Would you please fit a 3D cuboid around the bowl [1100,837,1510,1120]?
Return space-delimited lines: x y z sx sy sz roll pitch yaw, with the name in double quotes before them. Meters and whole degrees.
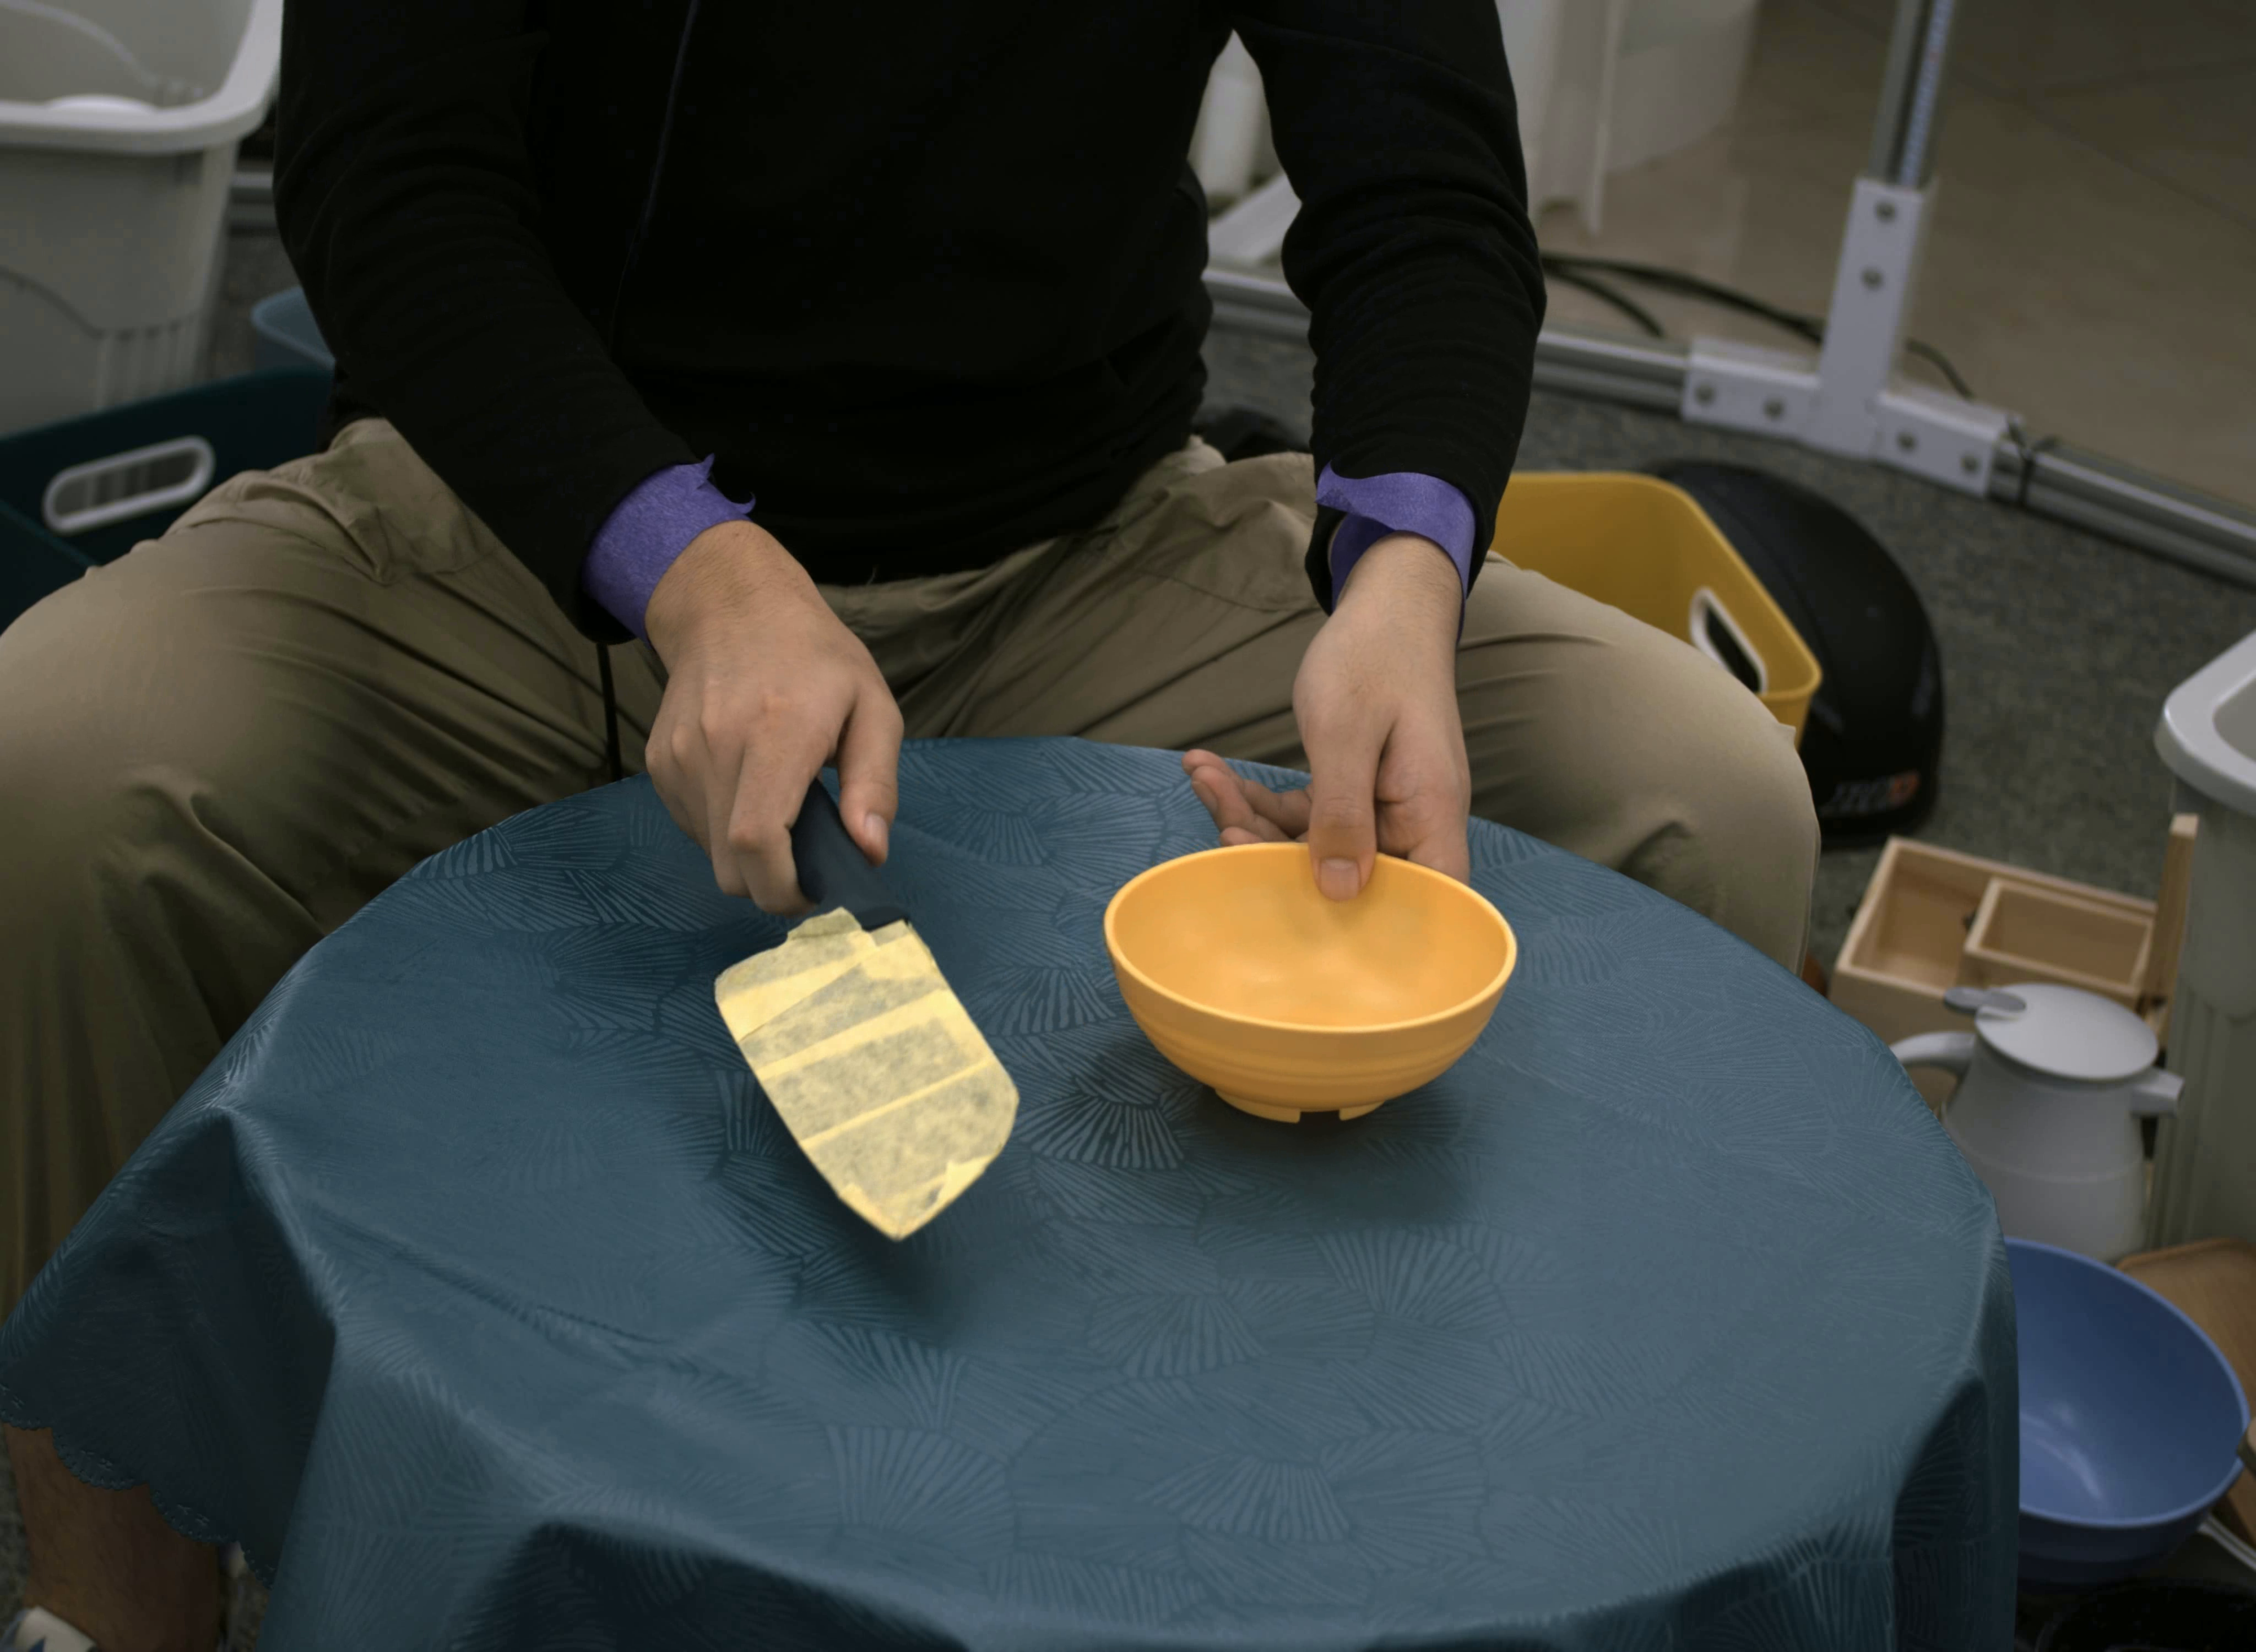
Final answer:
"bowl" 0.059 0.062 1.871 0.145 0.060 0.146 5 25 -3

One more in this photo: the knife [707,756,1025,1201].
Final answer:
"knife" -0.102 0.051 1.821 0.081 0.027 0.292 -19 32 -9
